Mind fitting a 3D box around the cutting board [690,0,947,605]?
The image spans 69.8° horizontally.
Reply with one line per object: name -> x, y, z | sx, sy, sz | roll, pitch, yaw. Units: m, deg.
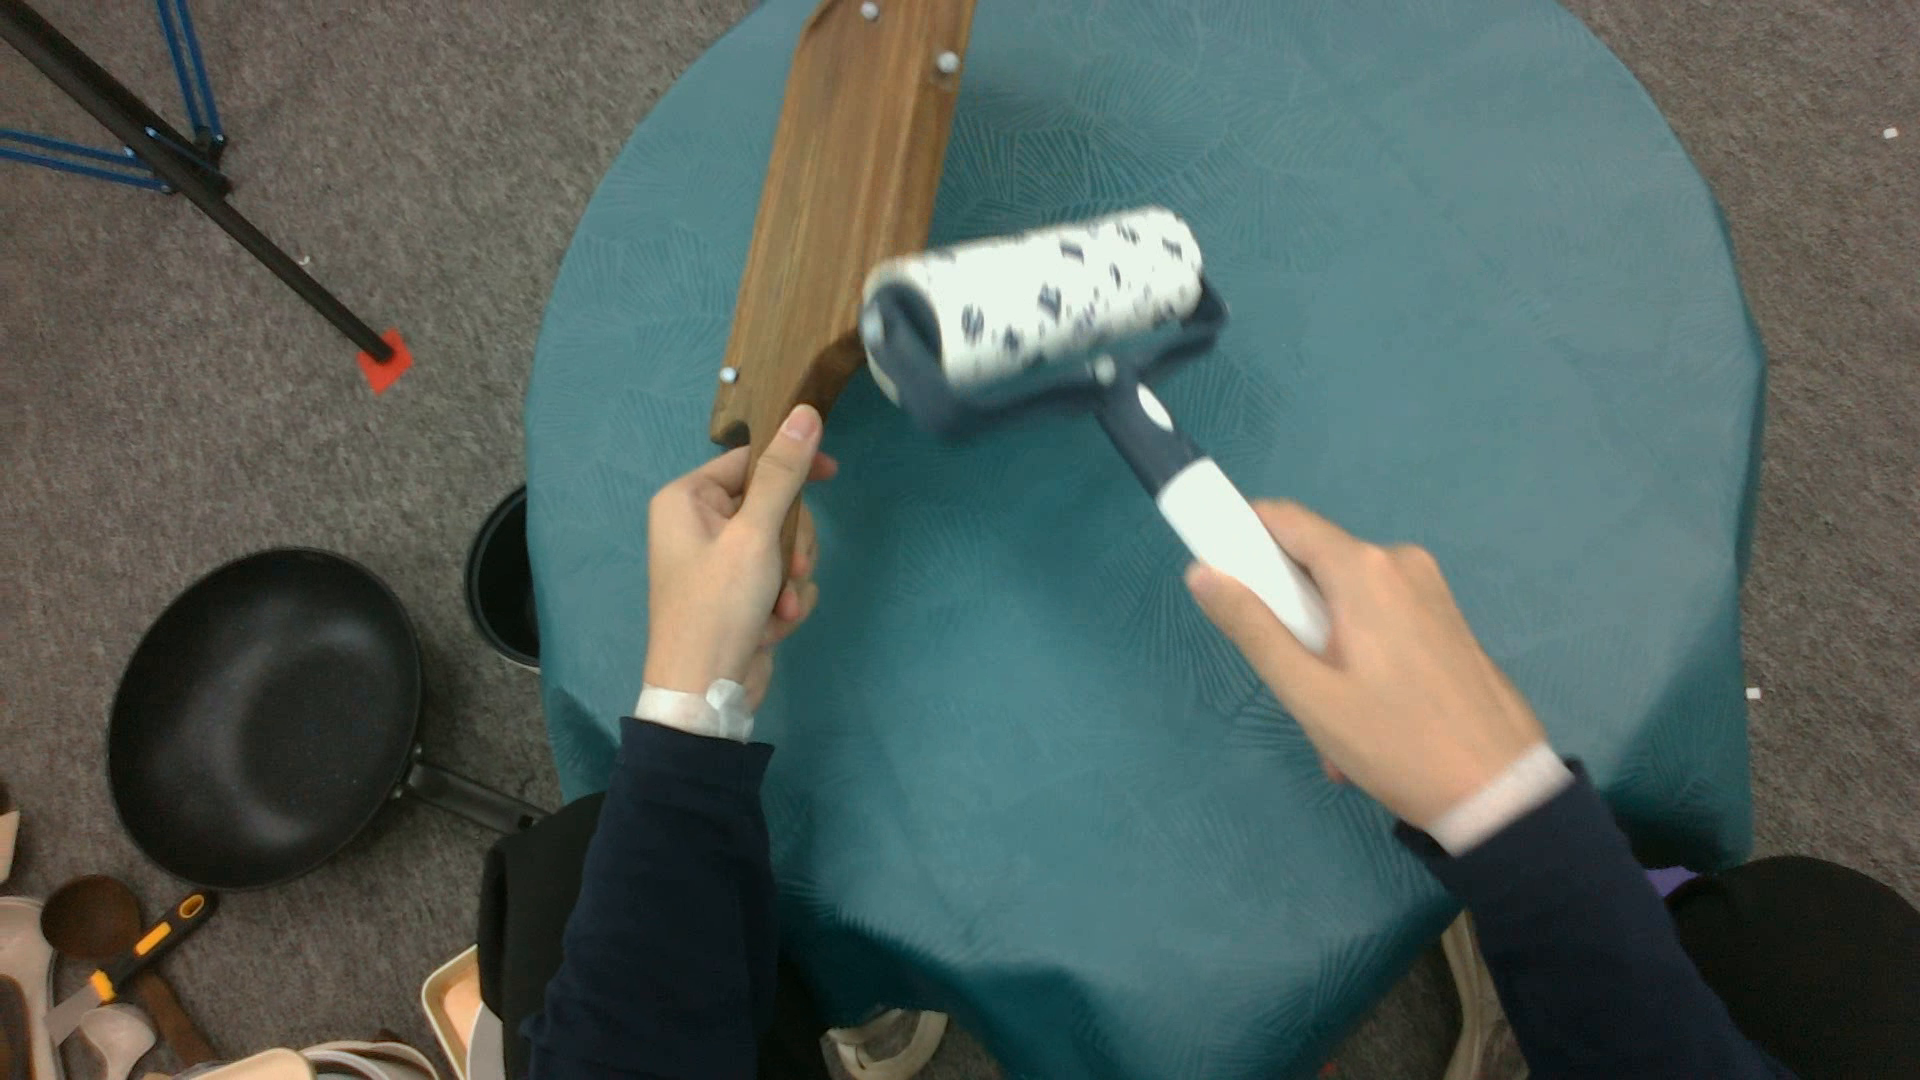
cutting board -> -0.071, -0.140, 0.634 | 0.023, 0.200, 0.353 | 18, 70, -25

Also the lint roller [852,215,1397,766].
lint roller -> 0.089, -0.022, 0.532 | 0.177, 0.050, 0.247 | -24, 70, -43
